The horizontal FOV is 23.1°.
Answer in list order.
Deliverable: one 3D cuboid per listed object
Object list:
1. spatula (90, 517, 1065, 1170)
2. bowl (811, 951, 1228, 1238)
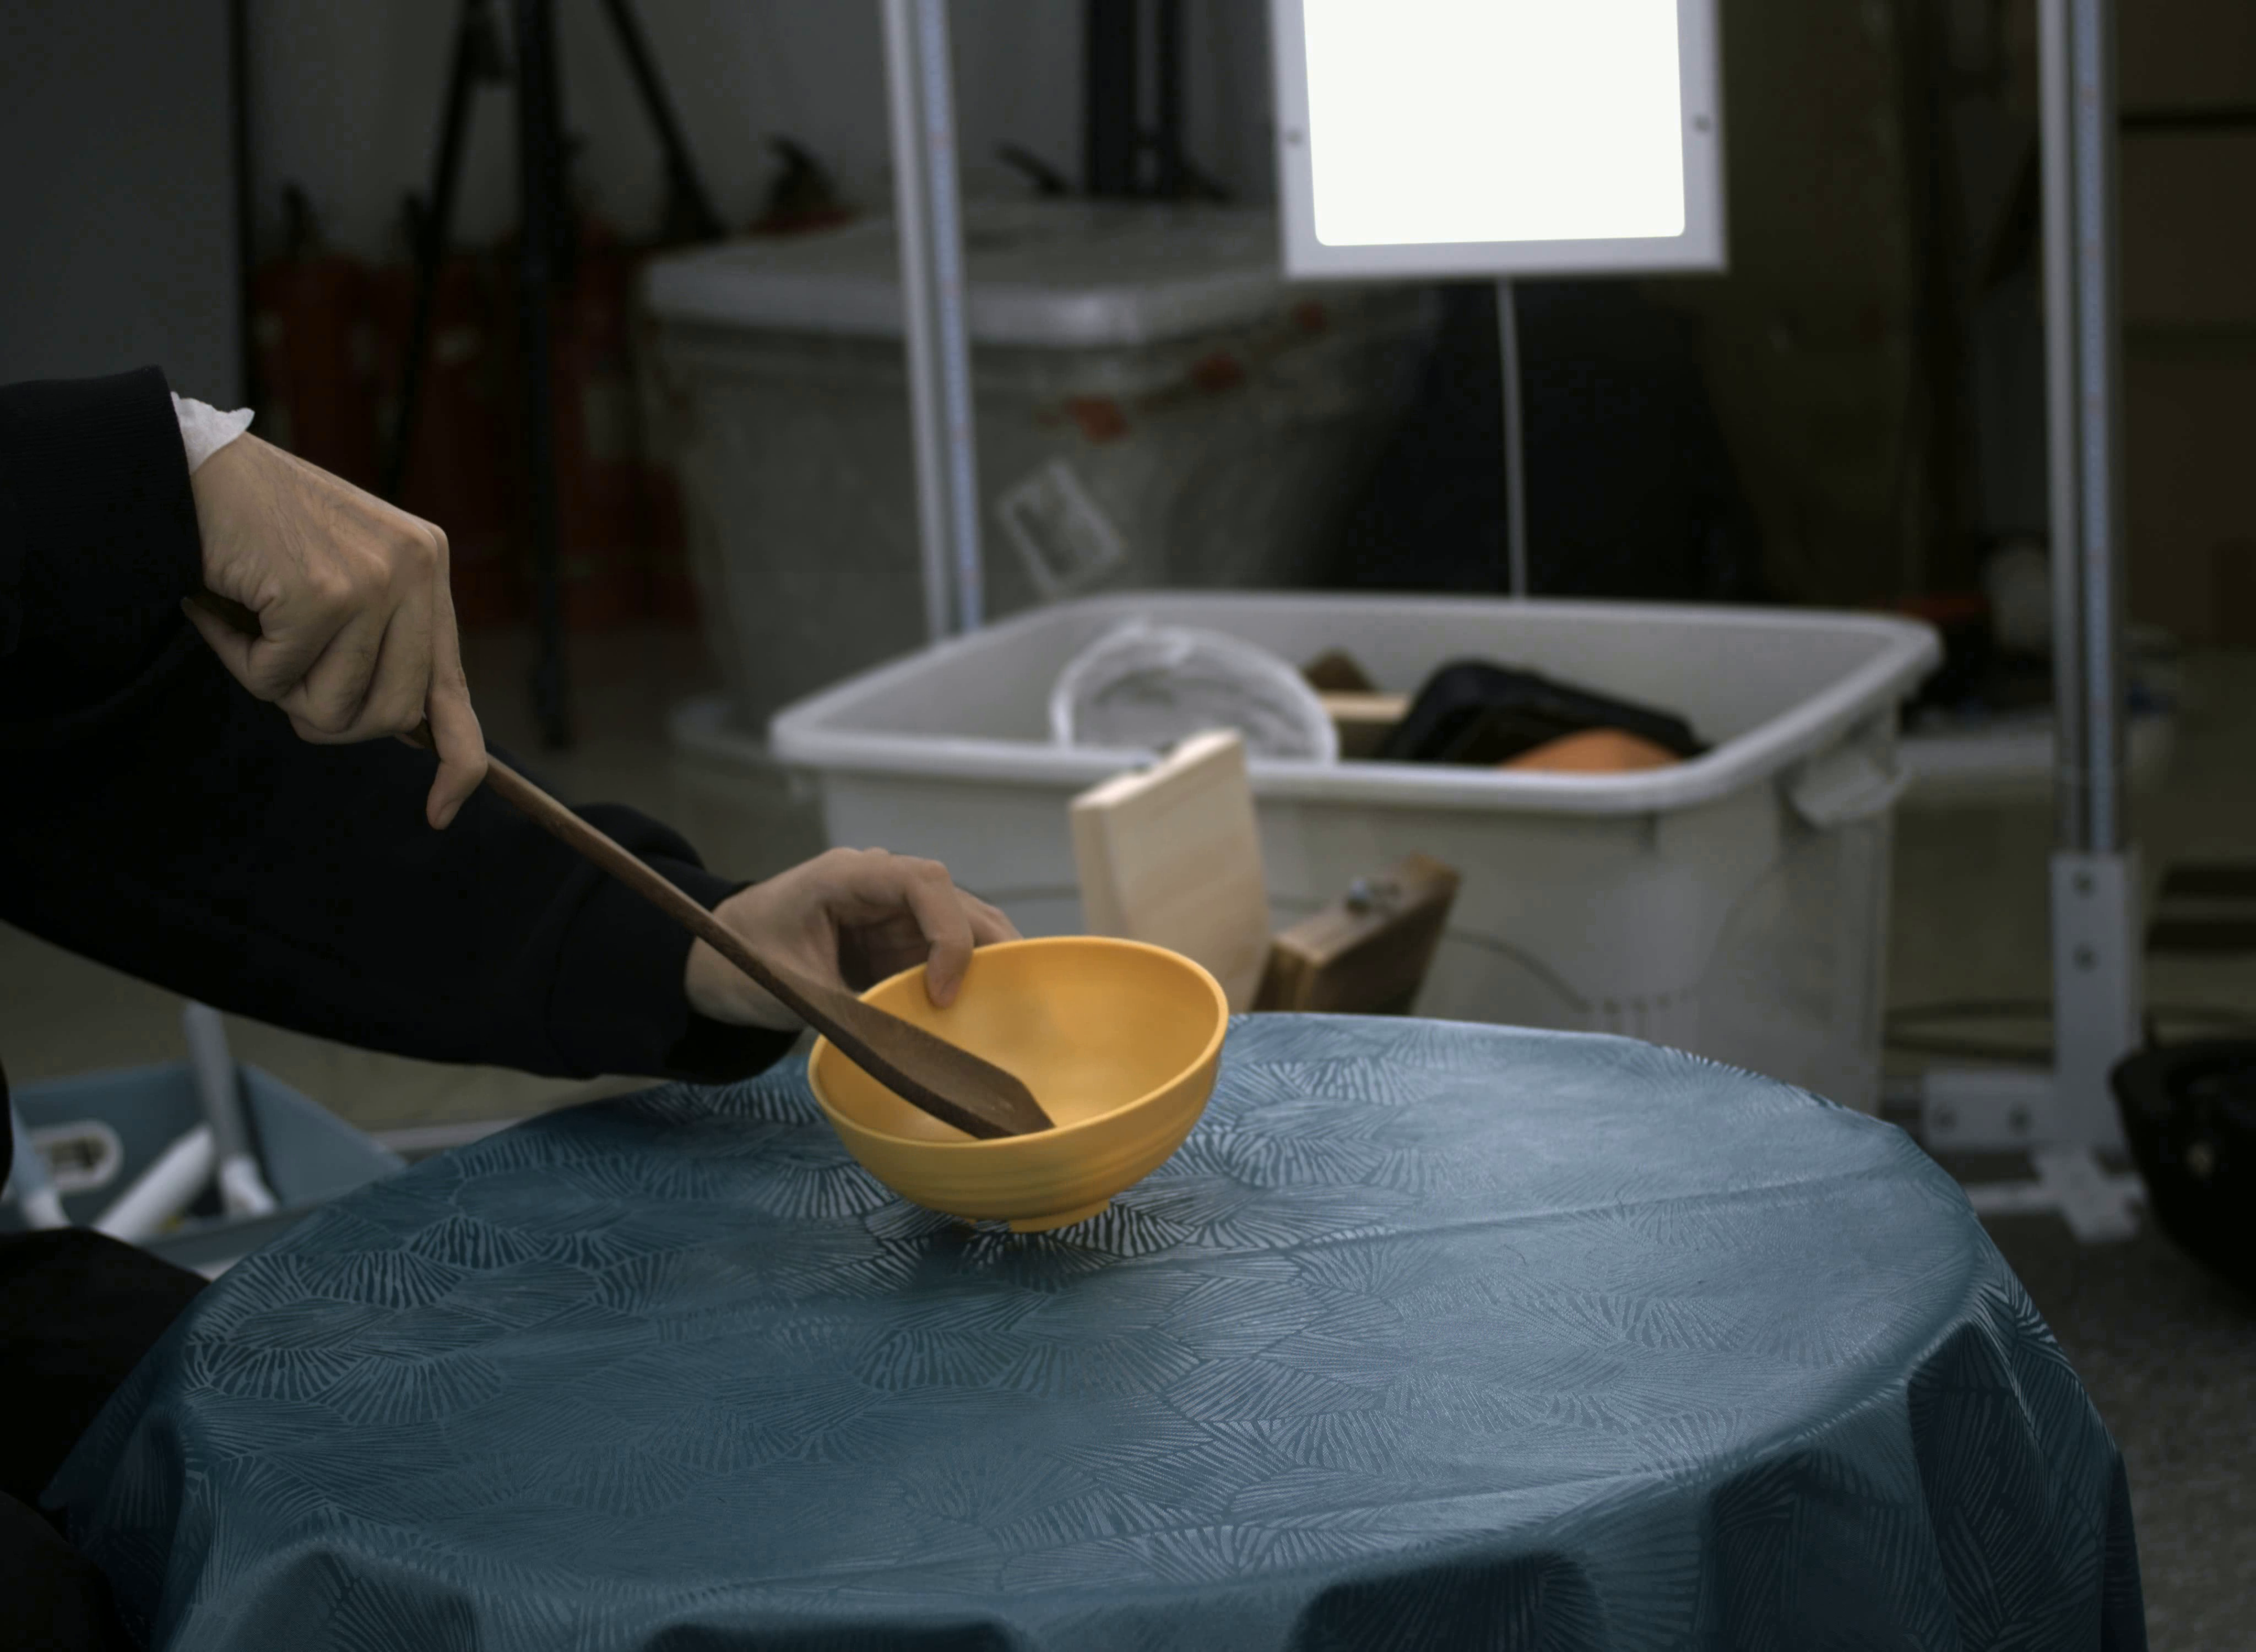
[{"bbox_3d":[-0.176,0.006,1.811,0.382,0.016,0.096,35,6,-14],"label":"spatula"},{"bbox_3d":[-0.033,0.100,1.876,0.145,0.060,0.145,-10,23,3],"label":"bowl"}]
